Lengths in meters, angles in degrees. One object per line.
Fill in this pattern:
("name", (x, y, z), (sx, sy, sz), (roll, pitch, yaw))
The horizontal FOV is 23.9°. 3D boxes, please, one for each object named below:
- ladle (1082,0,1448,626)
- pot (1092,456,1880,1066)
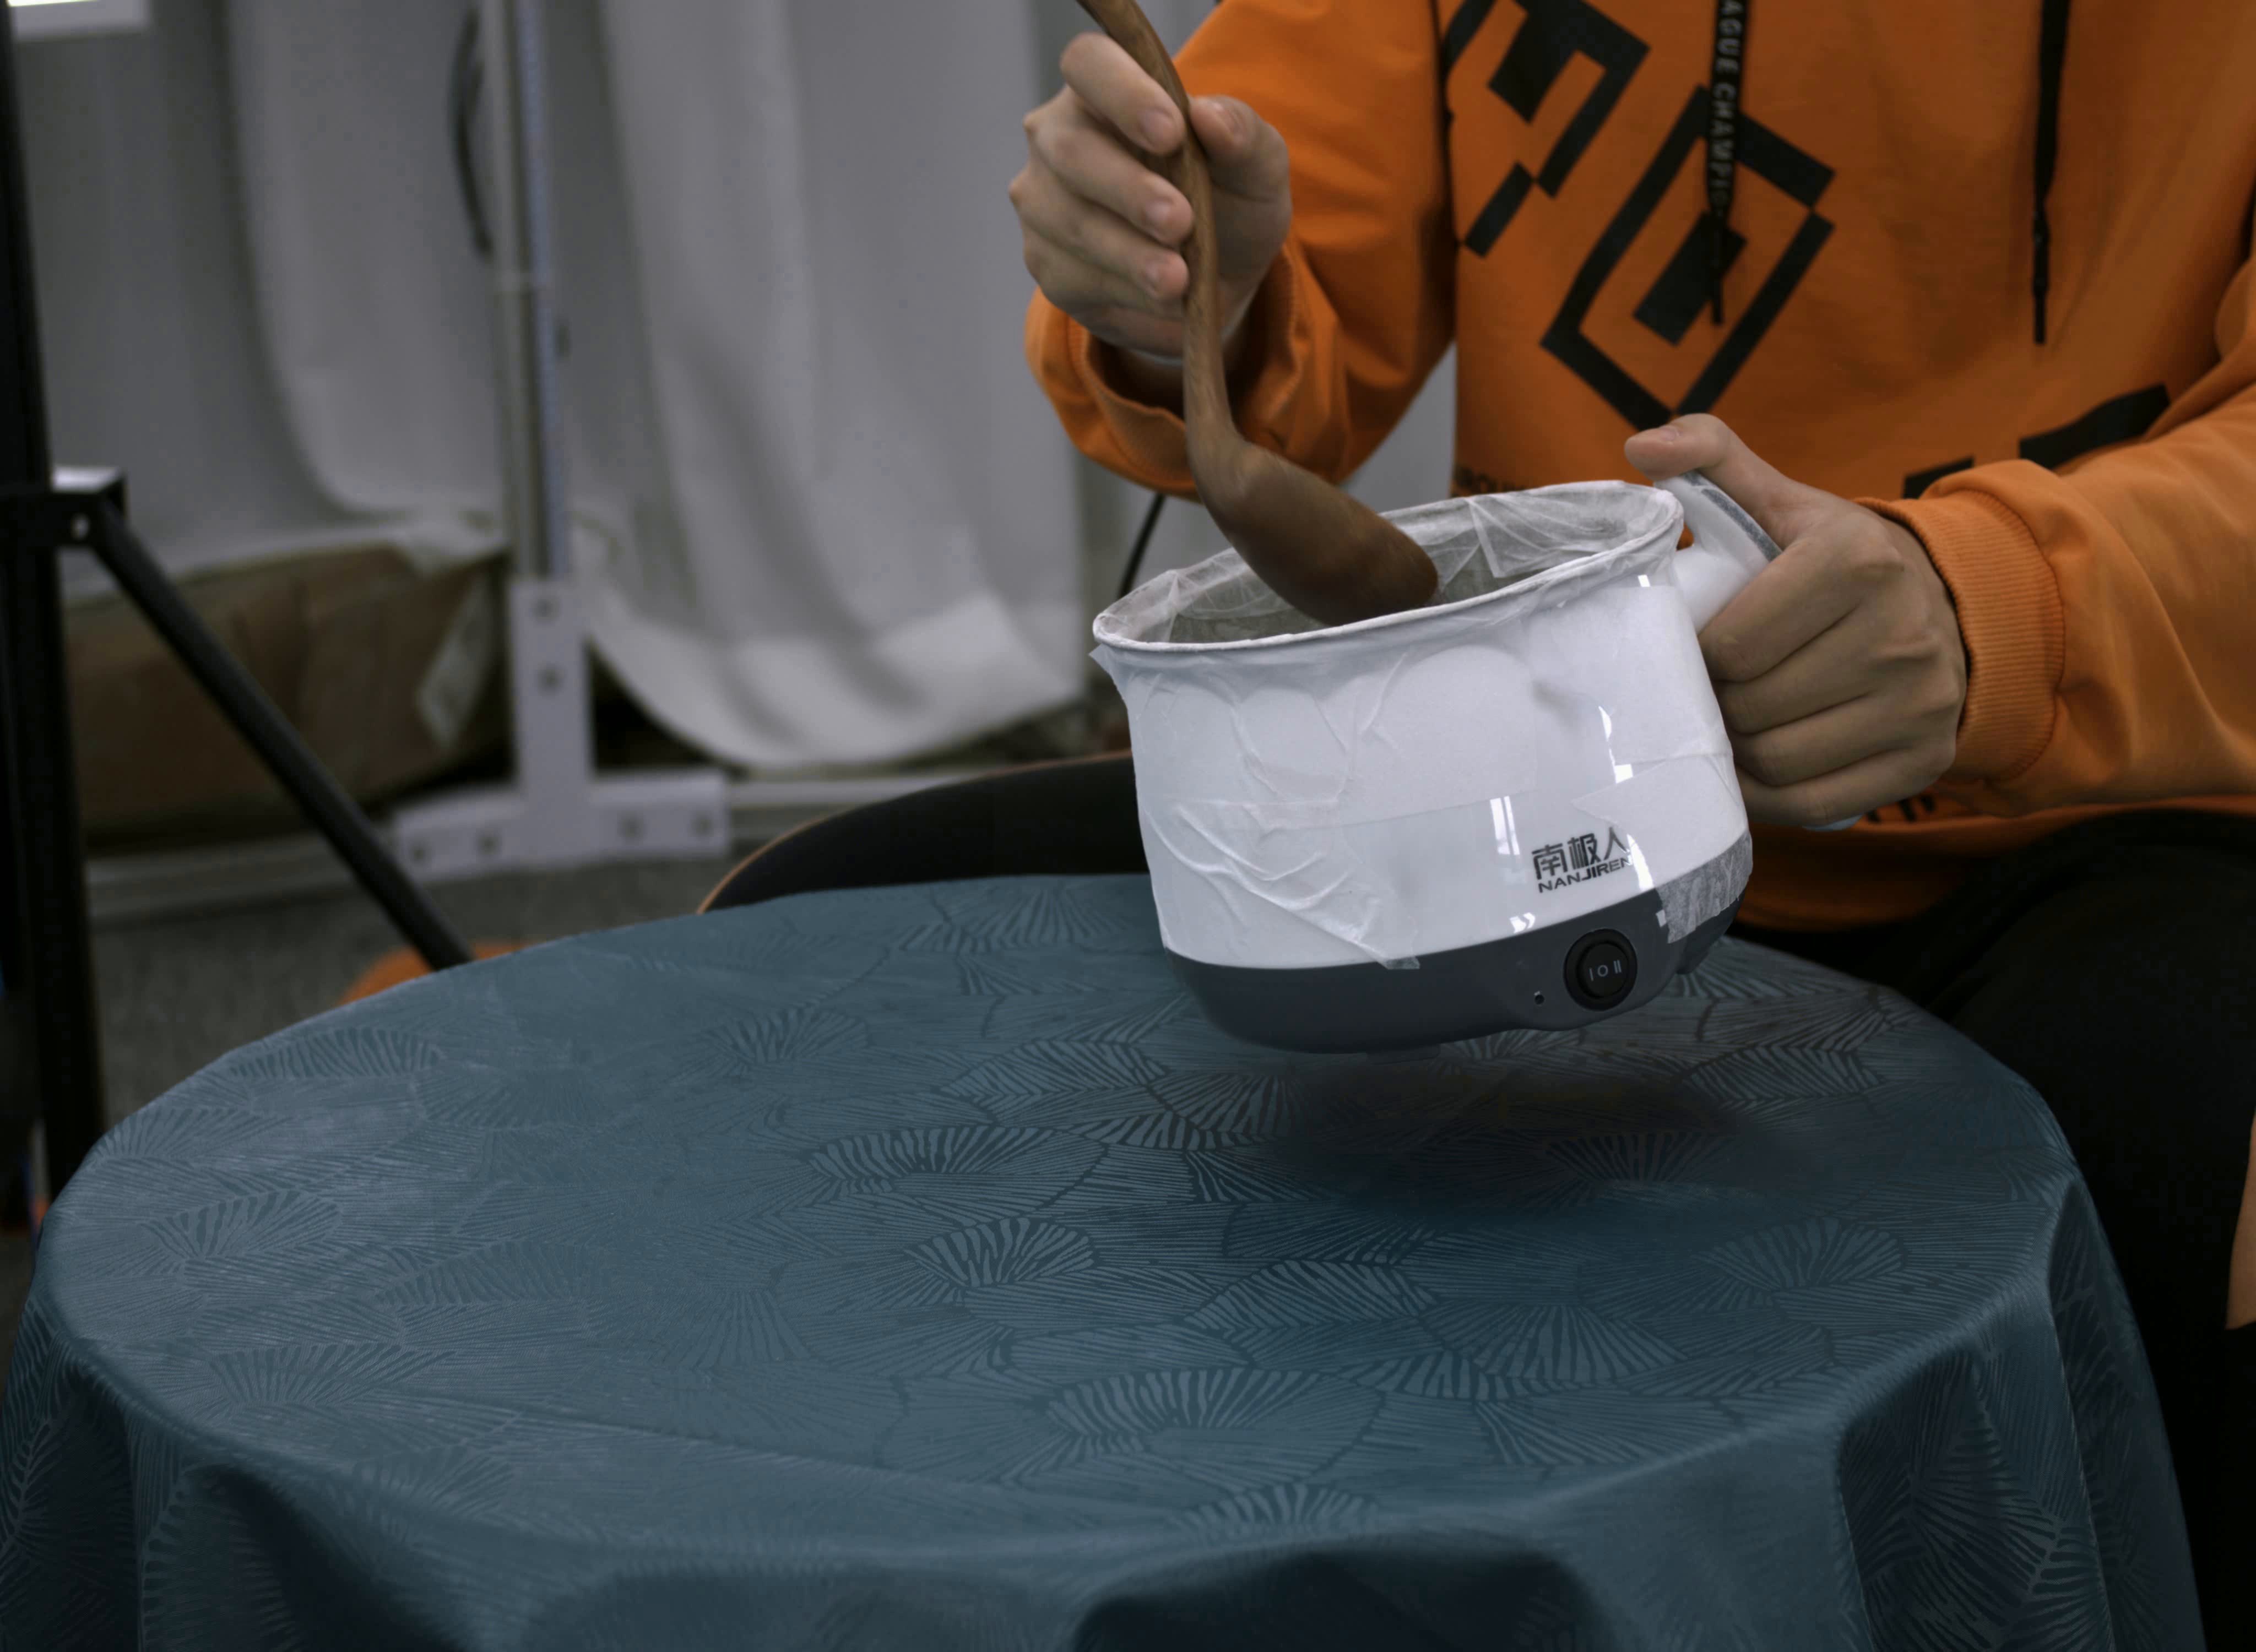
("ladle", (0.036, -0.168, 1.617), (0.065, 0.264, 0.075), (-20, -27, 11))
("pot", (0.113, -0.024, 1.577), (0.230, 0.136, 0.182), (-18, 13, -21))
